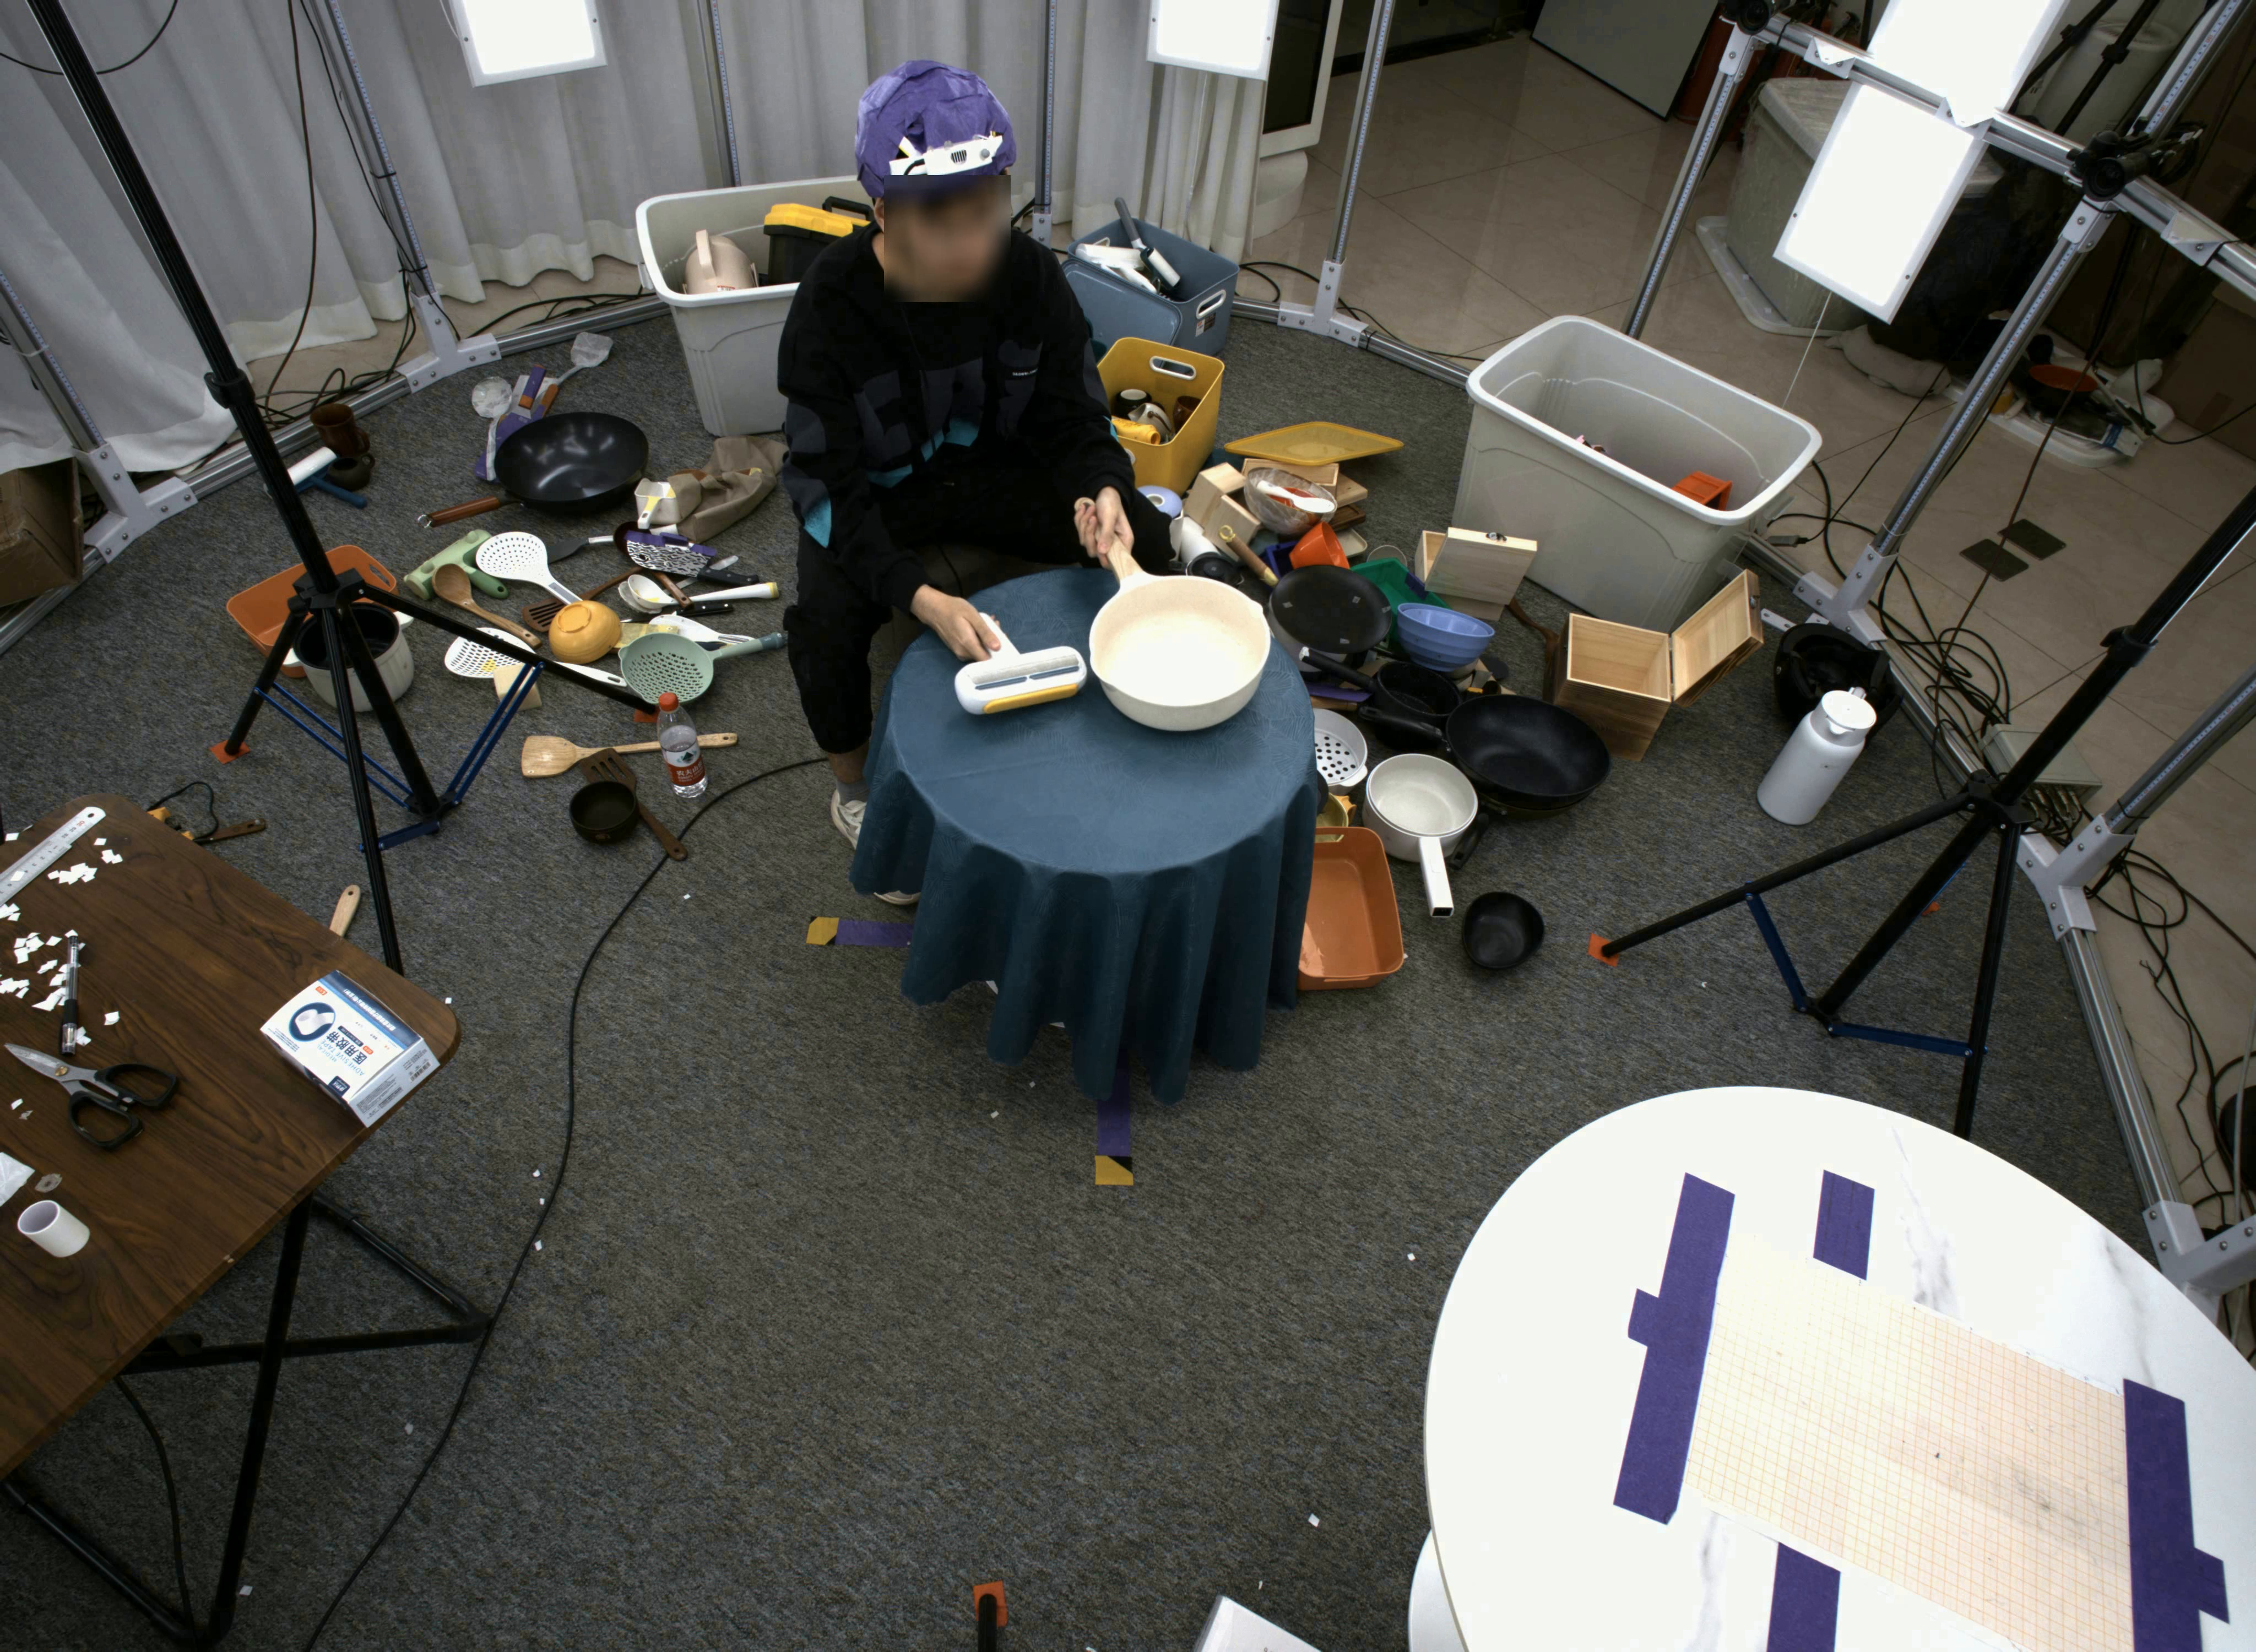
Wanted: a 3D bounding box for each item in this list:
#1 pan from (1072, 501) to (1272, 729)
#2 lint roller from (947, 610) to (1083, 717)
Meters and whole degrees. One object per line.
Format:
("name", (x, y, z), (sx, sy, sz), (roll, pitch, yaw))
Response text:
("pan", (0.033, -0.310, 1.862), (0.264, 0.099, 0.444), (-25, 55, -13))
("lint roller", (-0.178, -0.243, 1.812), (0.193, 0.072, 0.196), (-14, 60, -21))
